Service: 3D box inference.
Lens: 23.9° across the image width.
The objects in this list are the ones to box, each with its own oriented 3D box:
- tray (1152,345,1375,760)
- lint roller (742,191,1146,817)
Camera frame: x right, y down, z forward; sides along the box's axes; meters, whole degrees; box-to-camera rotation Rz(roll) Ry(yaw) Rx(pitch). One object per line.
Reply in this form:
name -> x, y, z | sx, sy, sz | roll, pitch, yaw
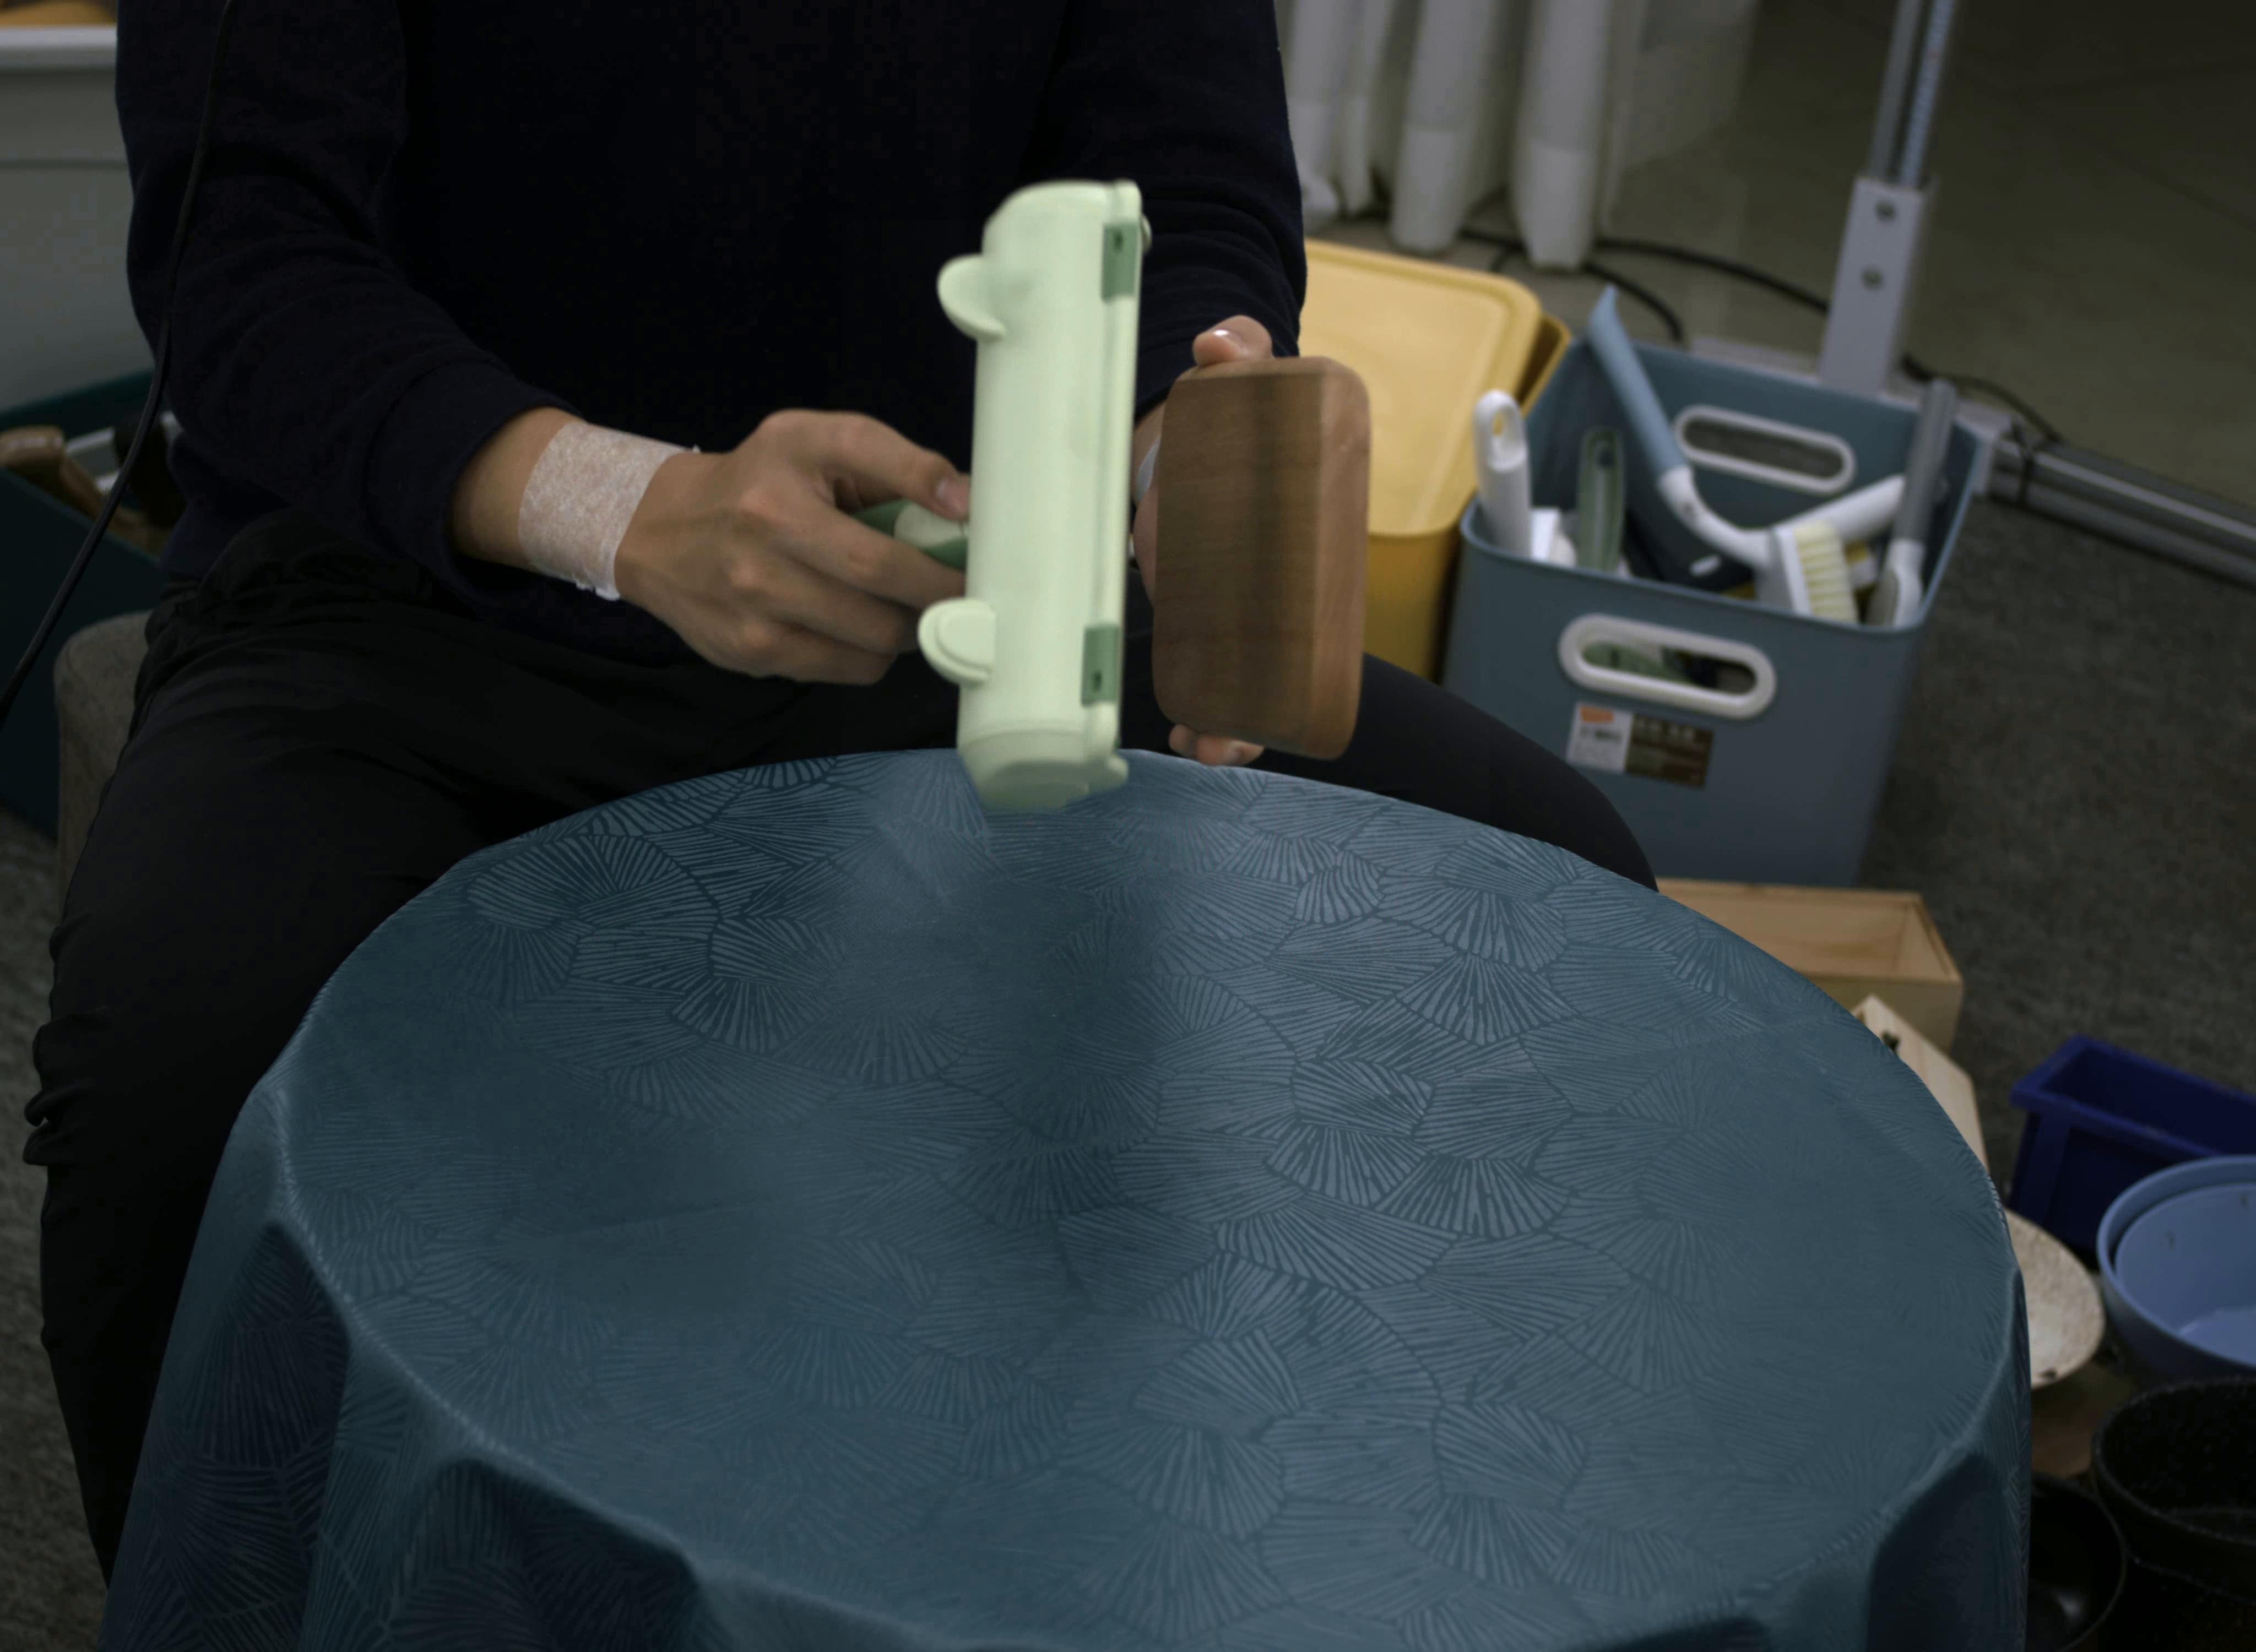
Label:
tray -> 0.042, -0.091, 1.745 | 0.023, 0.131, 0.251 | 4, 2, -13
lint roller -> -0.072, -0.096, 1.711 | 0.184, 0.200, 0.081 | -12, -24, 35
